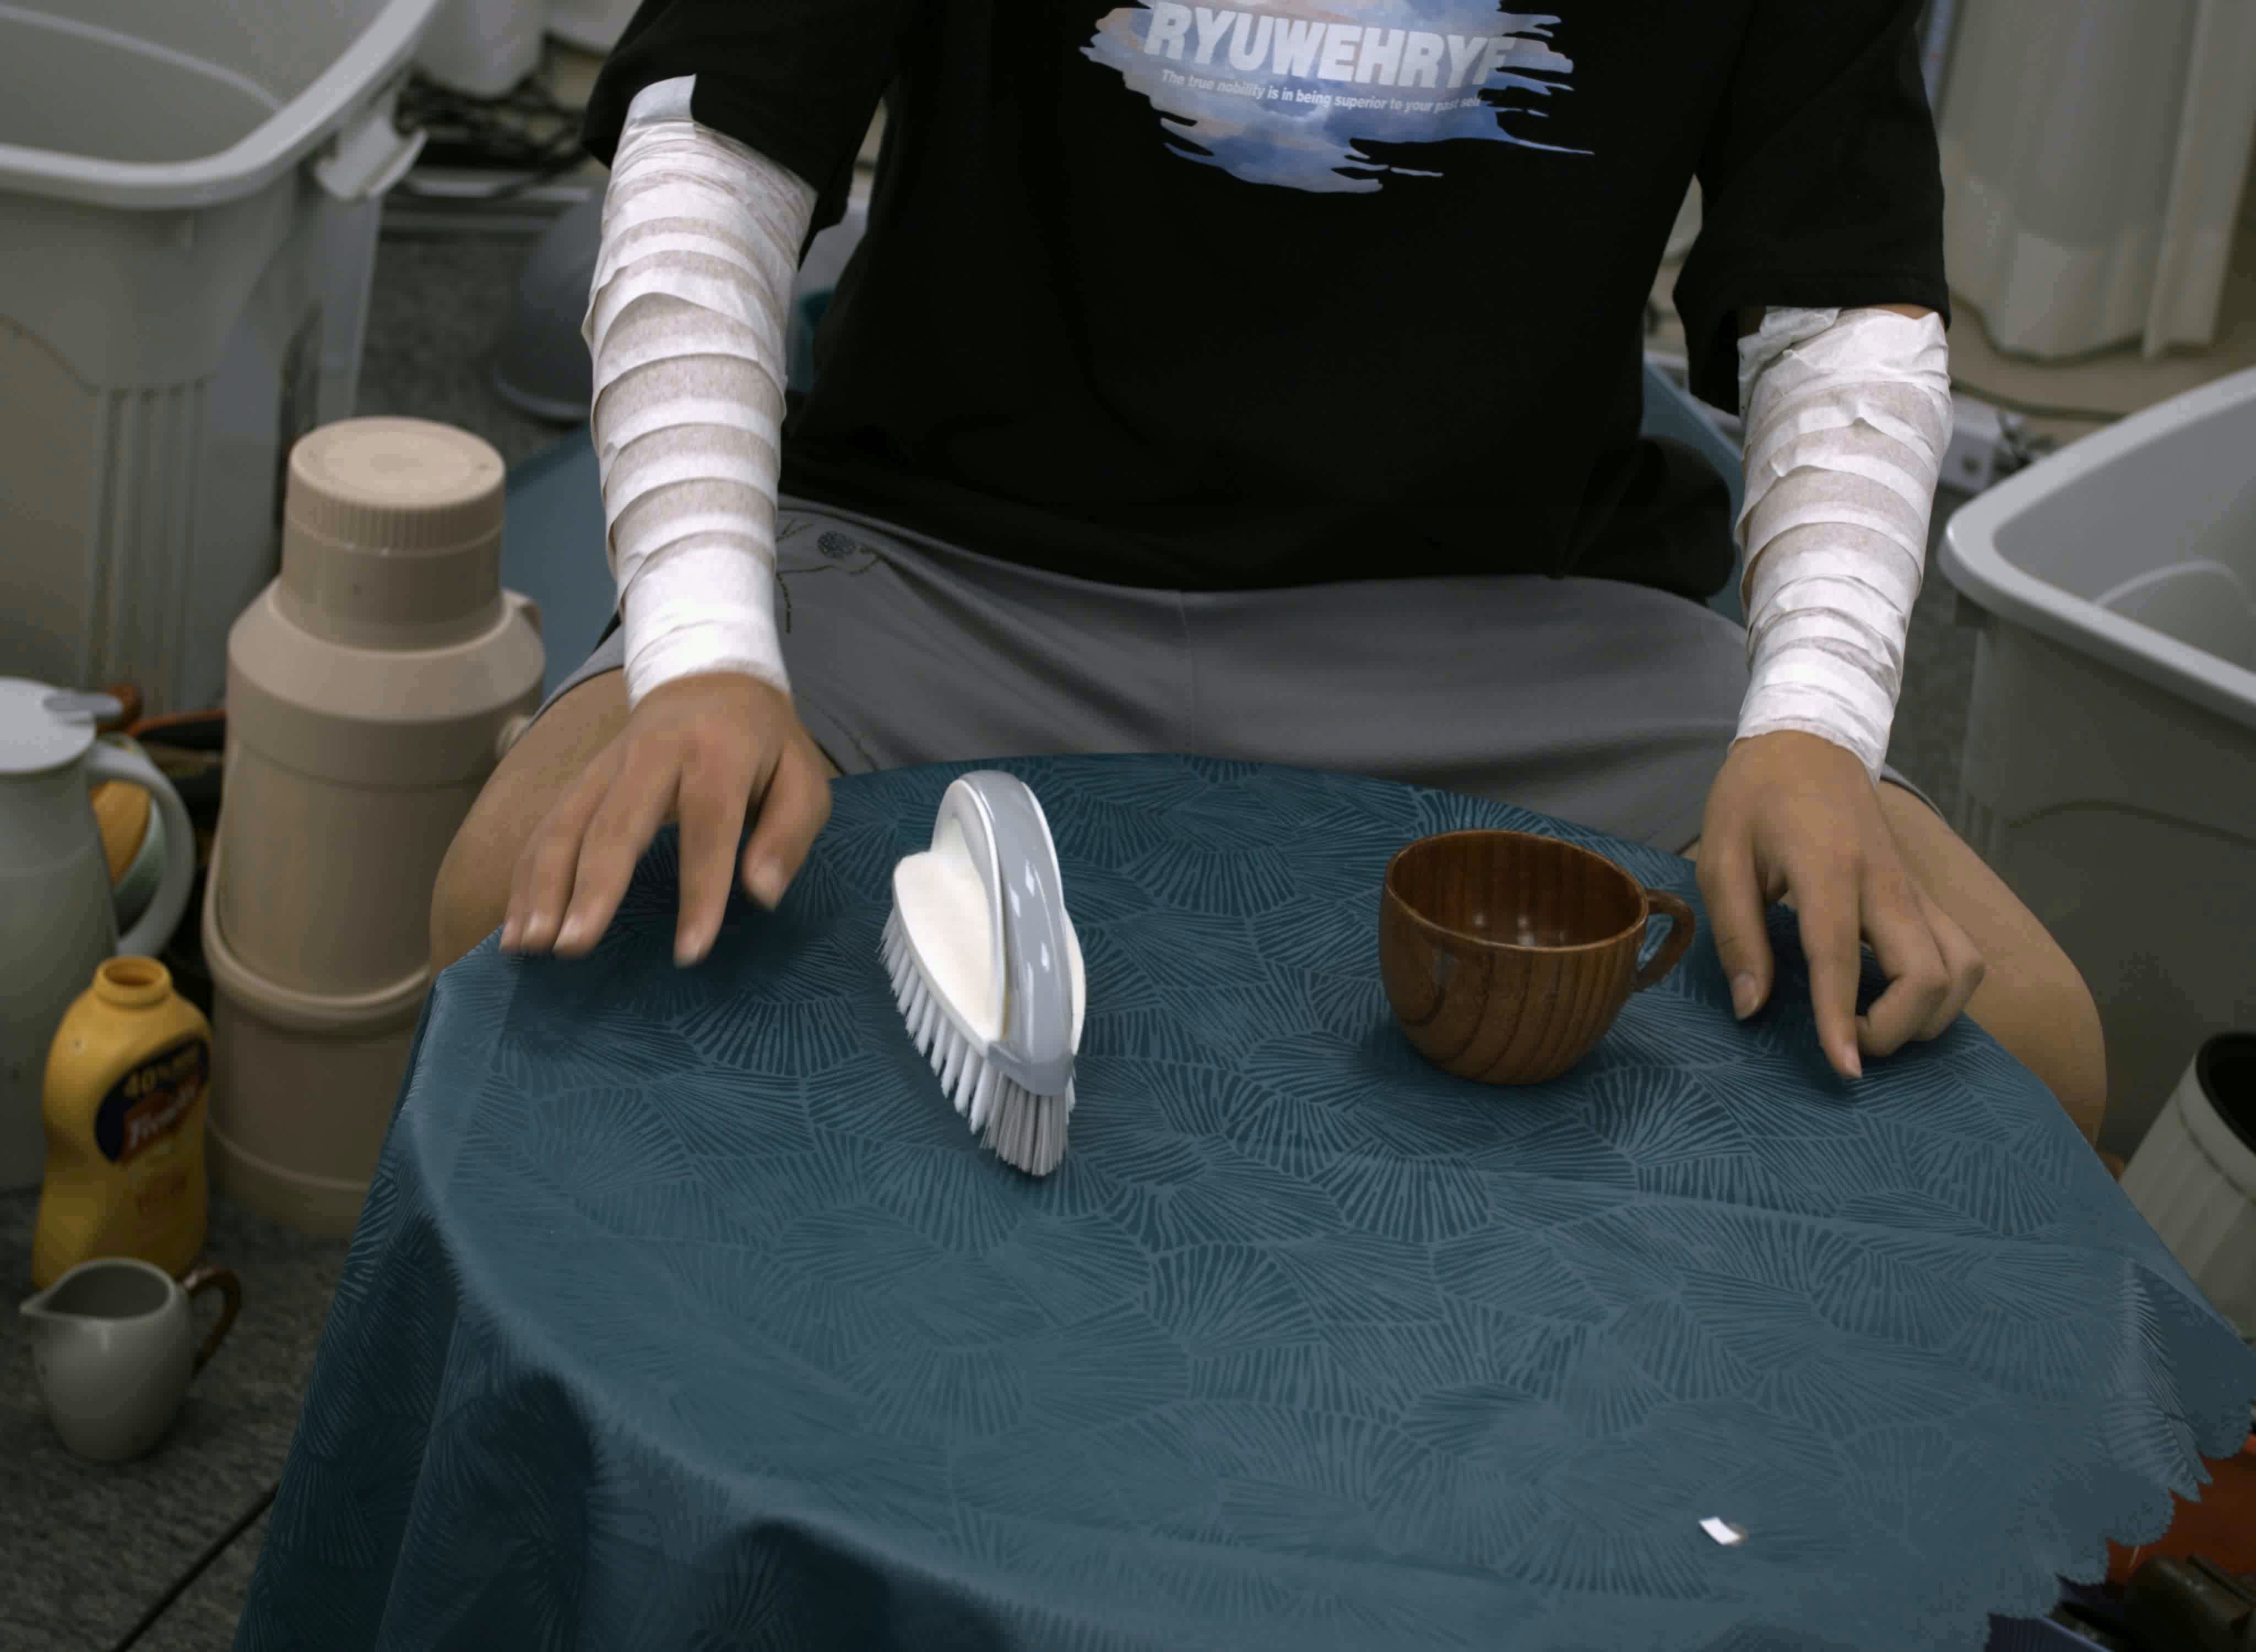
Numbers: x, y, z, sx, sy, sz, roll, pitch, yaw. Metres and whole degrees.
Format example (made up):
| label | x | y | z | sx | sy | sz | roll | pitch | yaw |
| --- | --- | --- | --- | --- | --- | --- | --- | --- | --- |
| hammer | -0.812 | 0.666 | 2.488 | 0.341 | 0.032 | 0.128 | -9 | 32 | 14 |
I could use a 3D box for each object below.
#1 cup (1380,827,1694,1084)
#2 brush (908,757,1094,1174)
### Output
| label | x | y | z | sx | sy | sz | roll | pitch | yaw |
| --- | --- | --- | --- | --- | --- | --- | --- | --- | --- |
| cup | 0.147 | 0.050 | 1.910 | 0.119 | 0.067 | 0.097 | -2 | 26 | -18 |
| brush | -0.039 | 0.040 | 1.859 | 0.061 | 0.094 | 0.177 | -3 | 30 | -10 |
